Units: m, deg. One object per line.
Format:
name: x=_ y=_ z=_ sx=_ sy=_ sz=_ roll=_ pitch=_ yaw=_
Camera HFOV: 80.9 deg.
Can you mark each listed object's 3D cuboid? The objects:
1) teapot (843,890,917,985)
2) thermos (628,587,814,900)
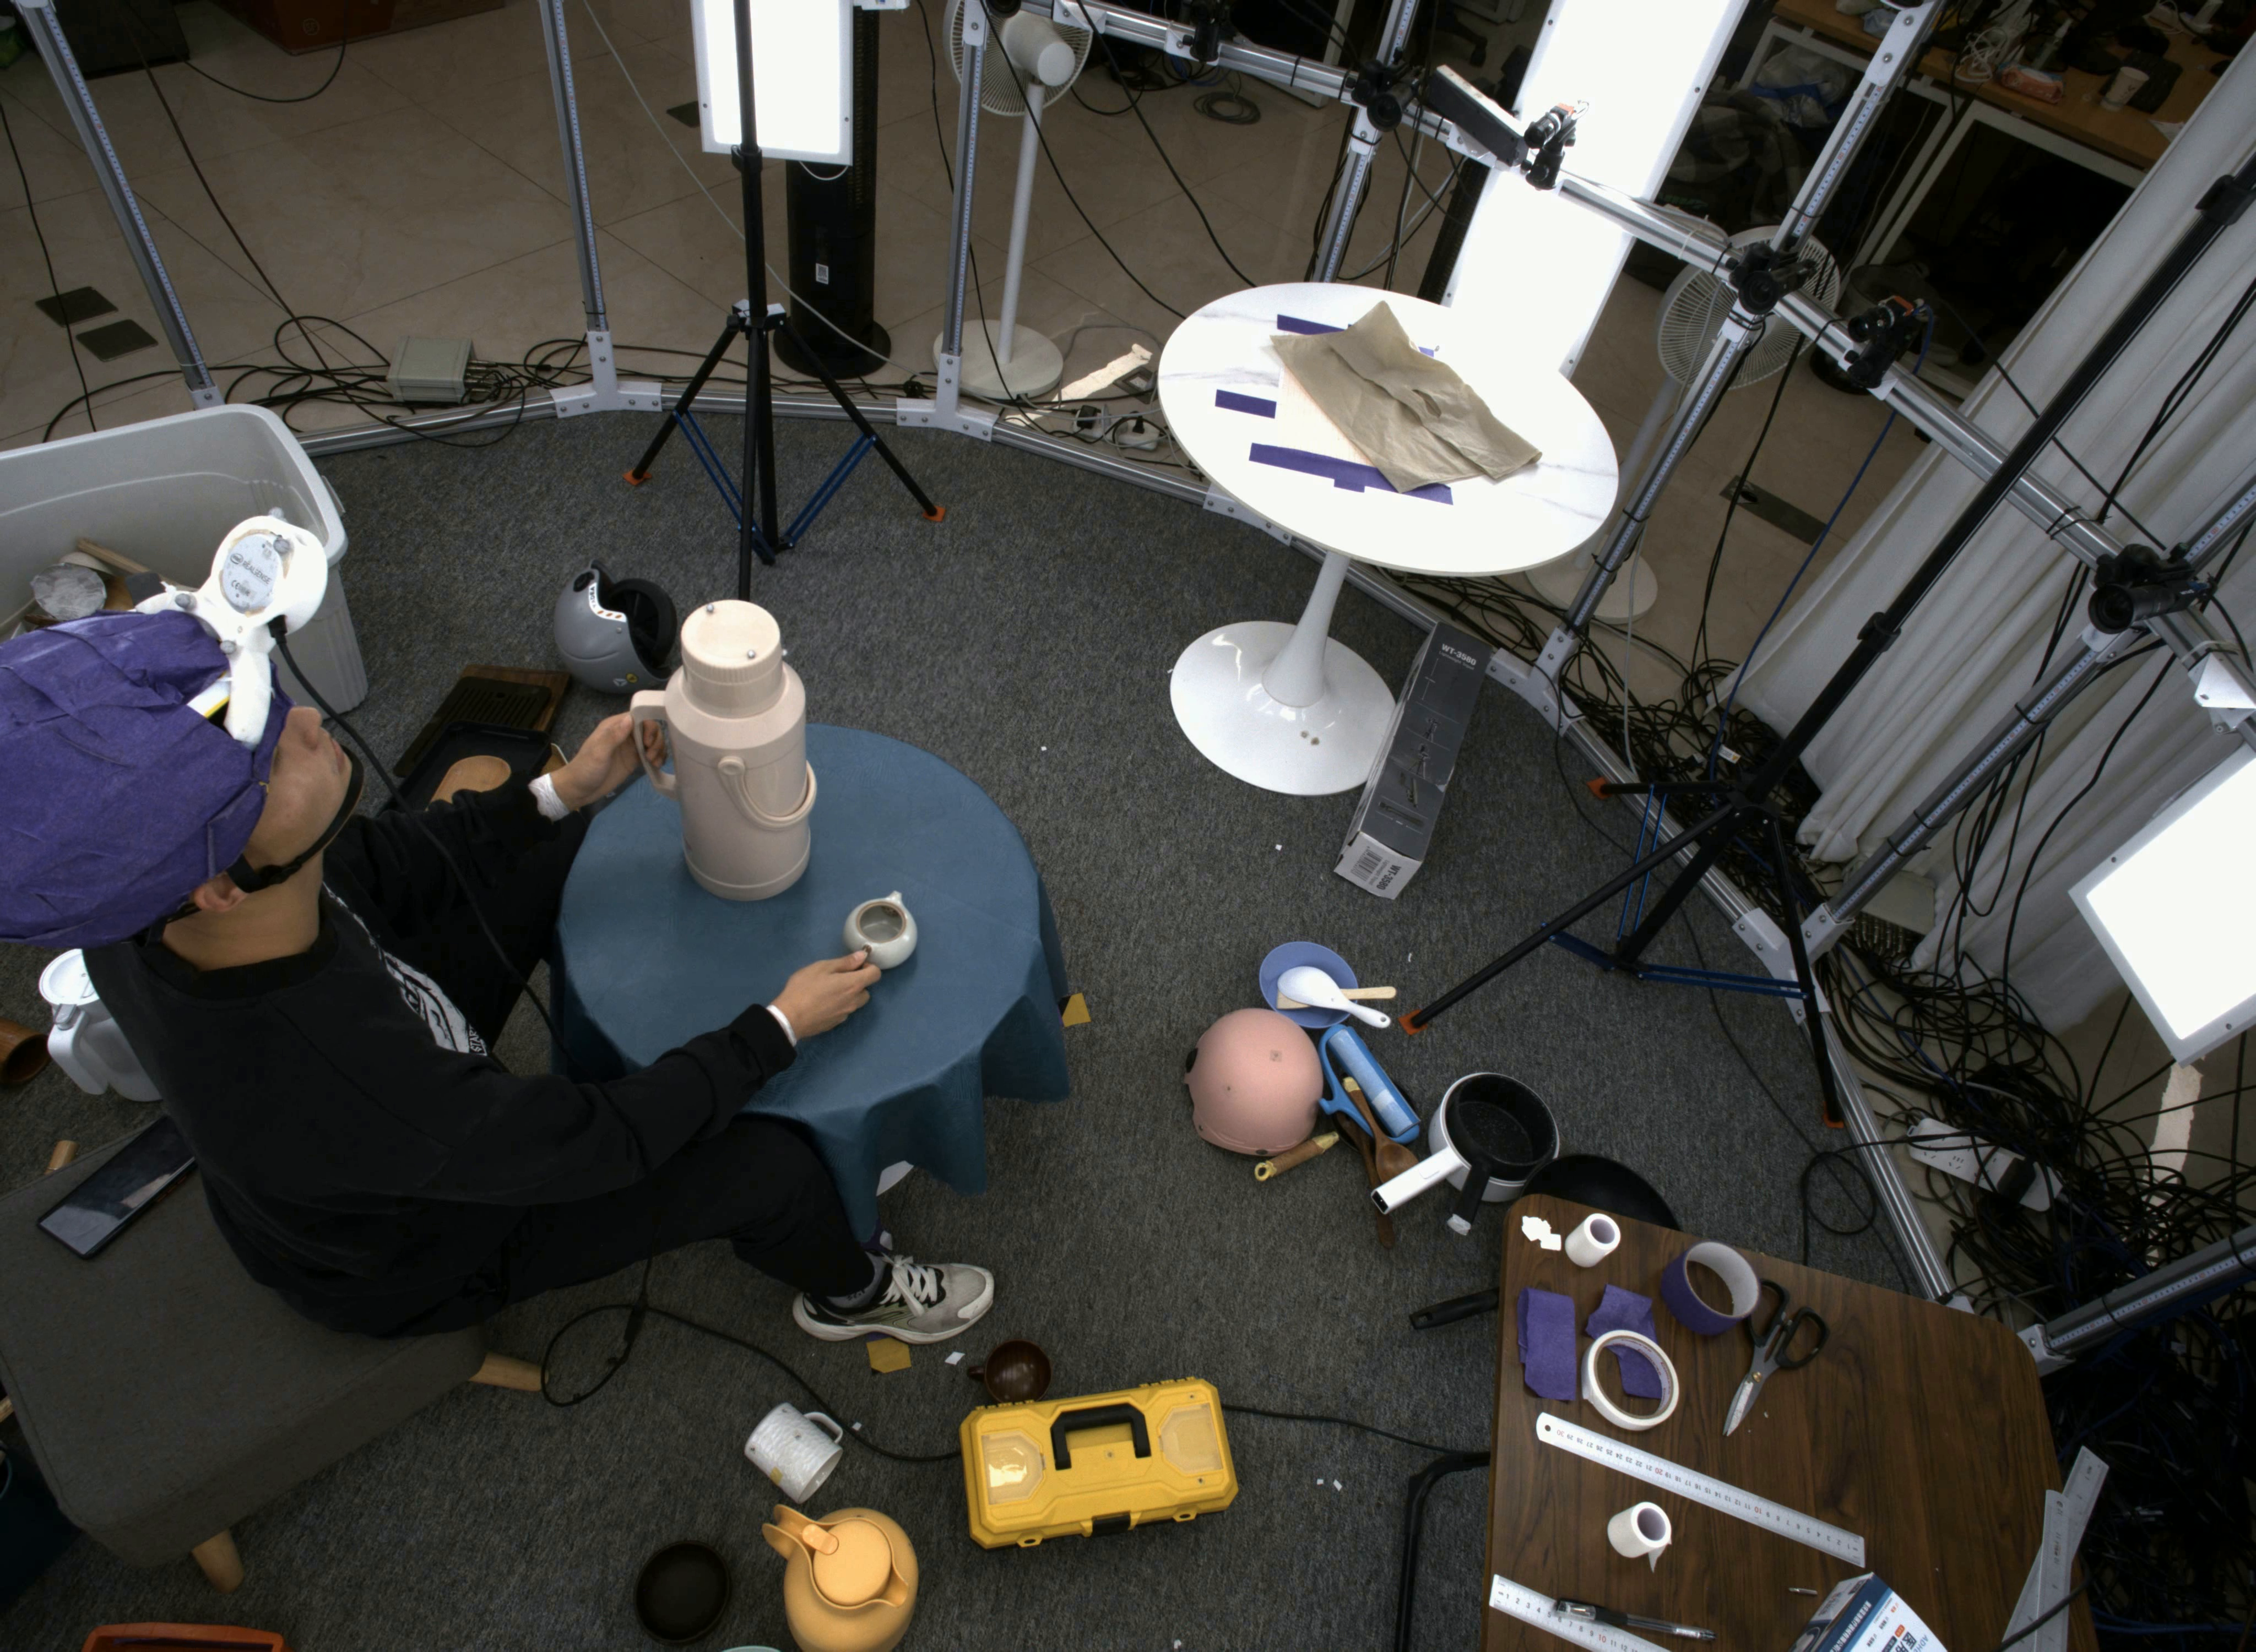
teapot: x=-0.311 y=0.139 z=1.609 sx=0.091 sy=0.060 sz=0.126 roll=20 pitch=50 yaw=-1
thermos: x=-0.477 y=-0.094 z=1.521 sx=0.207 sy=0.414 sz=0.171 roll=-1 pitch=54 yaw=-13
